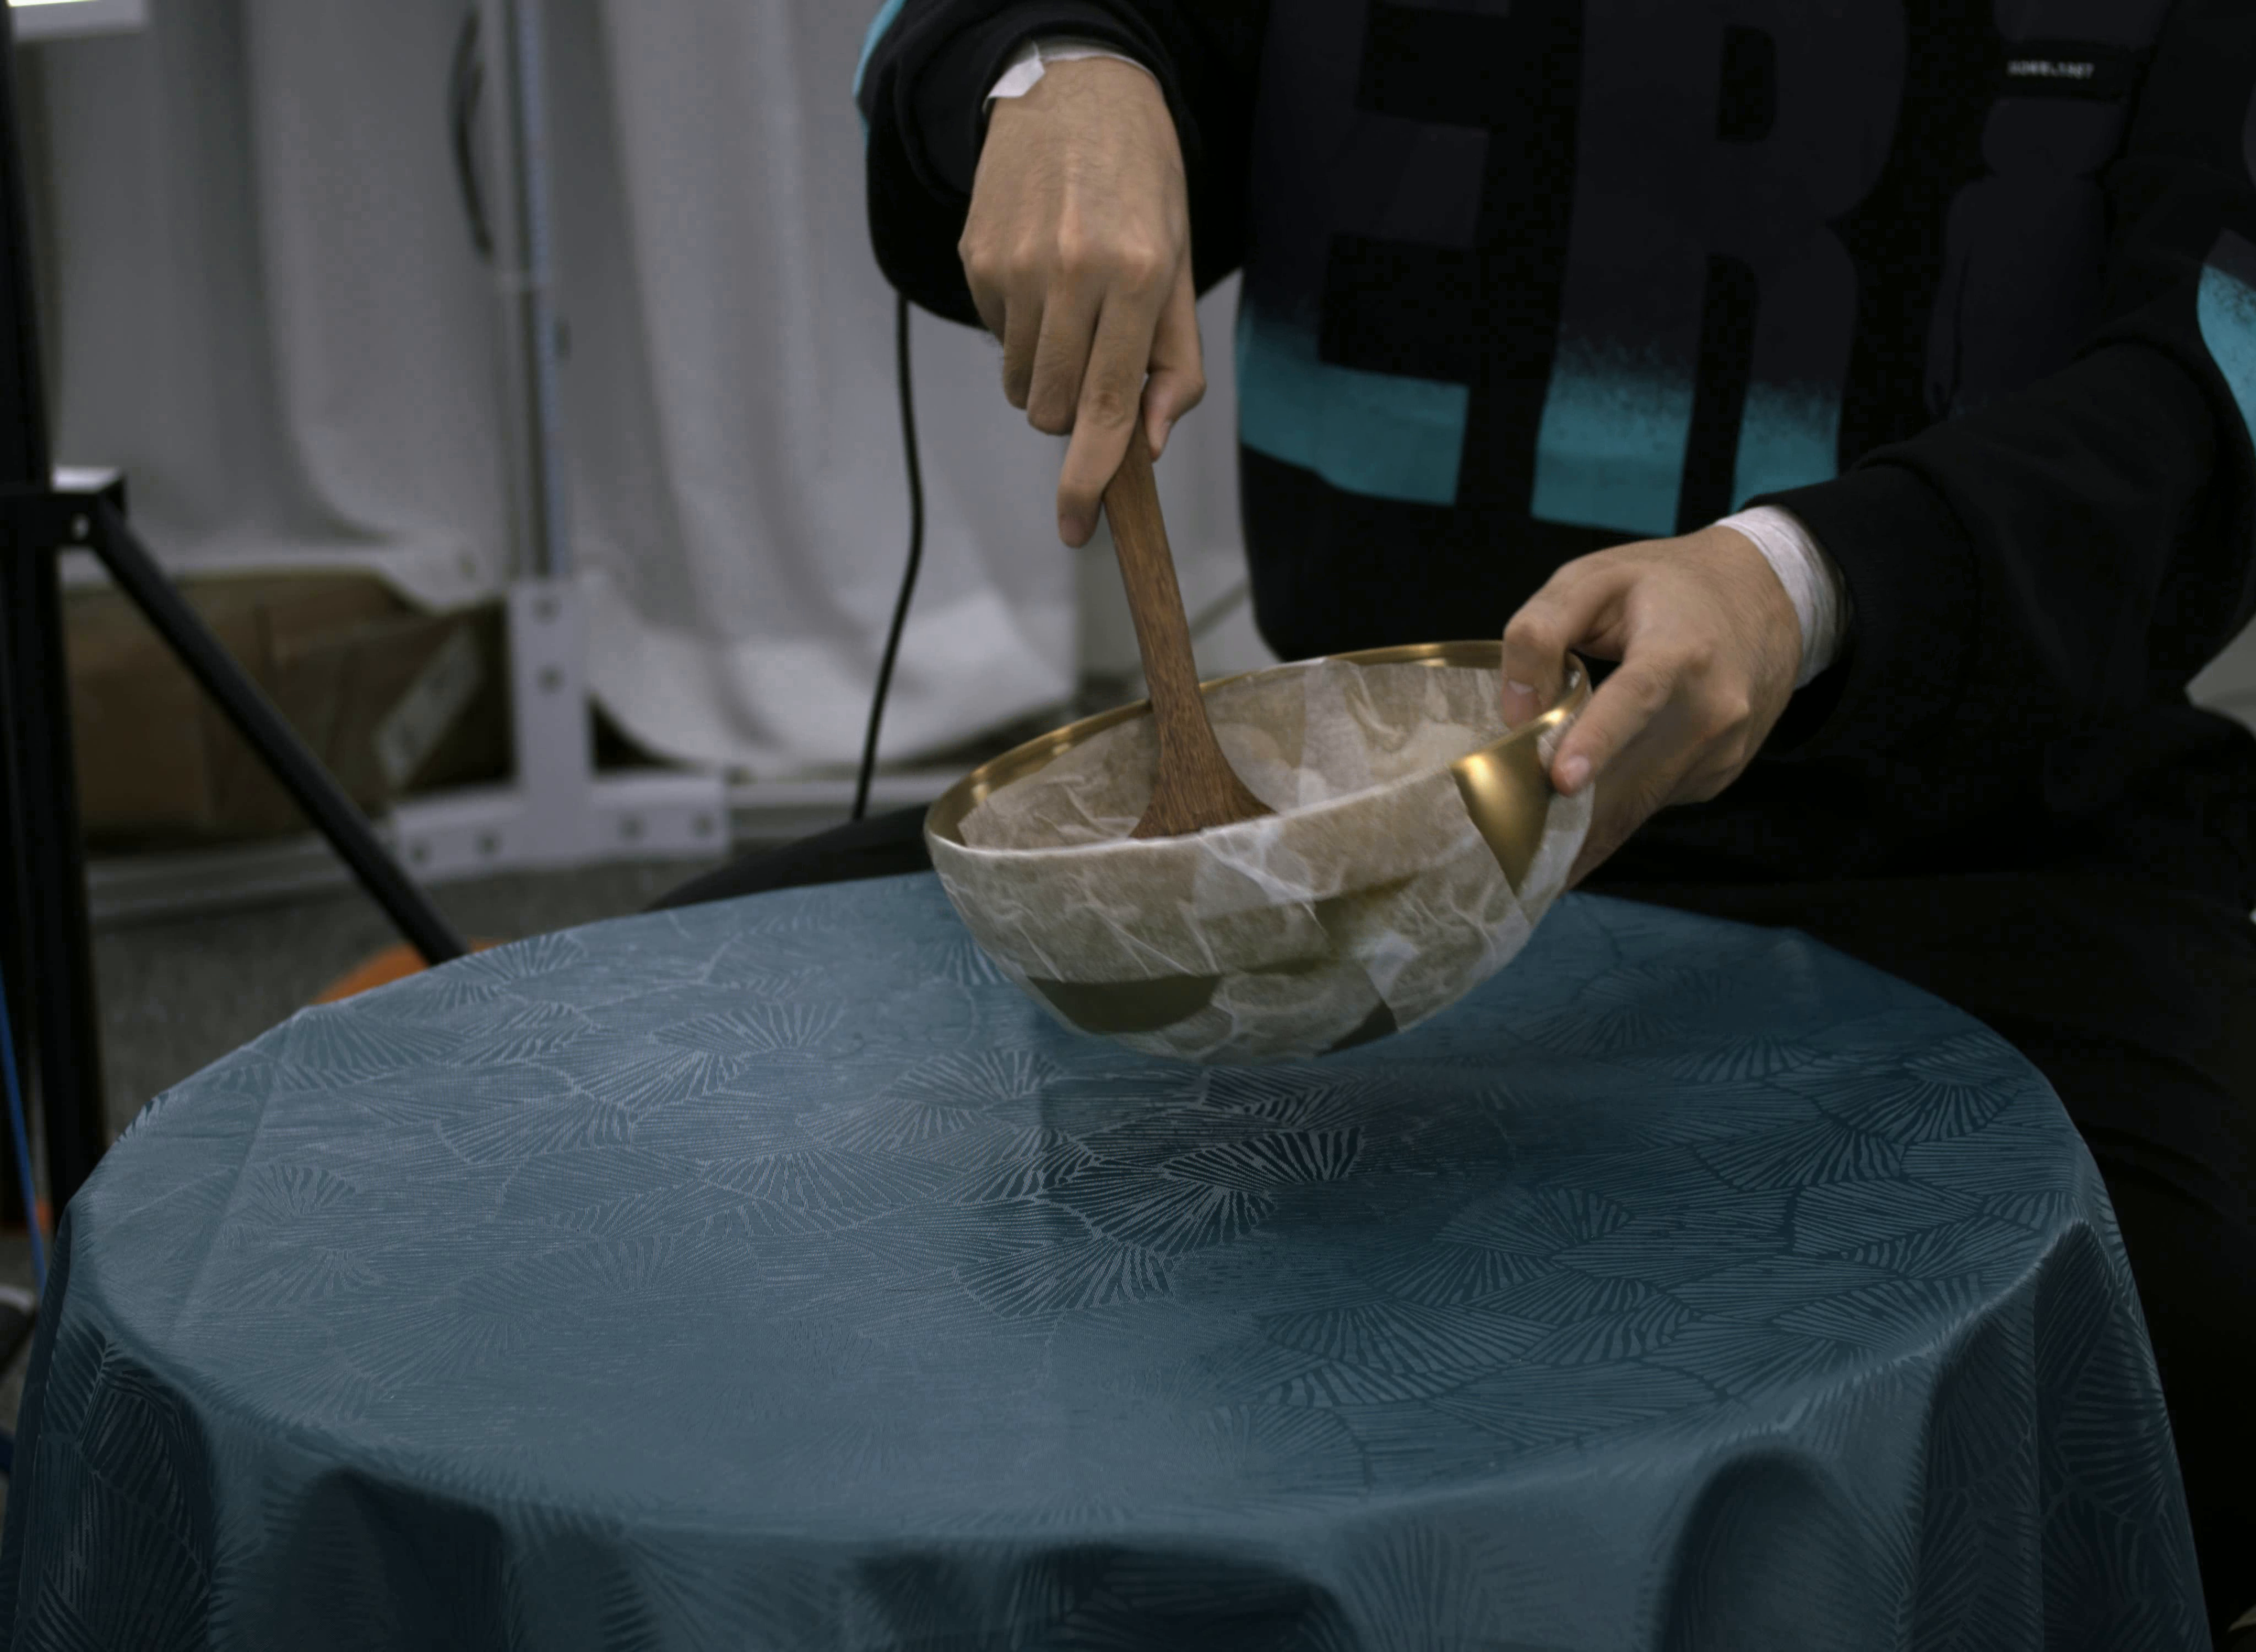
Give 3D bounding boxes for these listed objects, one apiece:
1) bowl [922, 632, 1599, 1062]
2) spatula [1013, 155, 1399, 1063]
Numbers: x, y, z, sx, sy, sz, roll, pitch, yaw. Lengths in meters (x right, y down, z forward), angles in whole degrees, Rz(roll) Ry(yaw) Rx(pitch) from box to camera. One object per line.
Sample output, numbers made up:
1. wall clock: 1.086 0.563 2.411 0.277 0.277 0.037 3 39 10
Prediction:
1. bowl: 0.049 0.015 1.569 0.214 0.094 0.215 -14 11 1
2. spatula: 0.006 -0.079 1.675 0.095 0.015 0.392 -7 51 -7
